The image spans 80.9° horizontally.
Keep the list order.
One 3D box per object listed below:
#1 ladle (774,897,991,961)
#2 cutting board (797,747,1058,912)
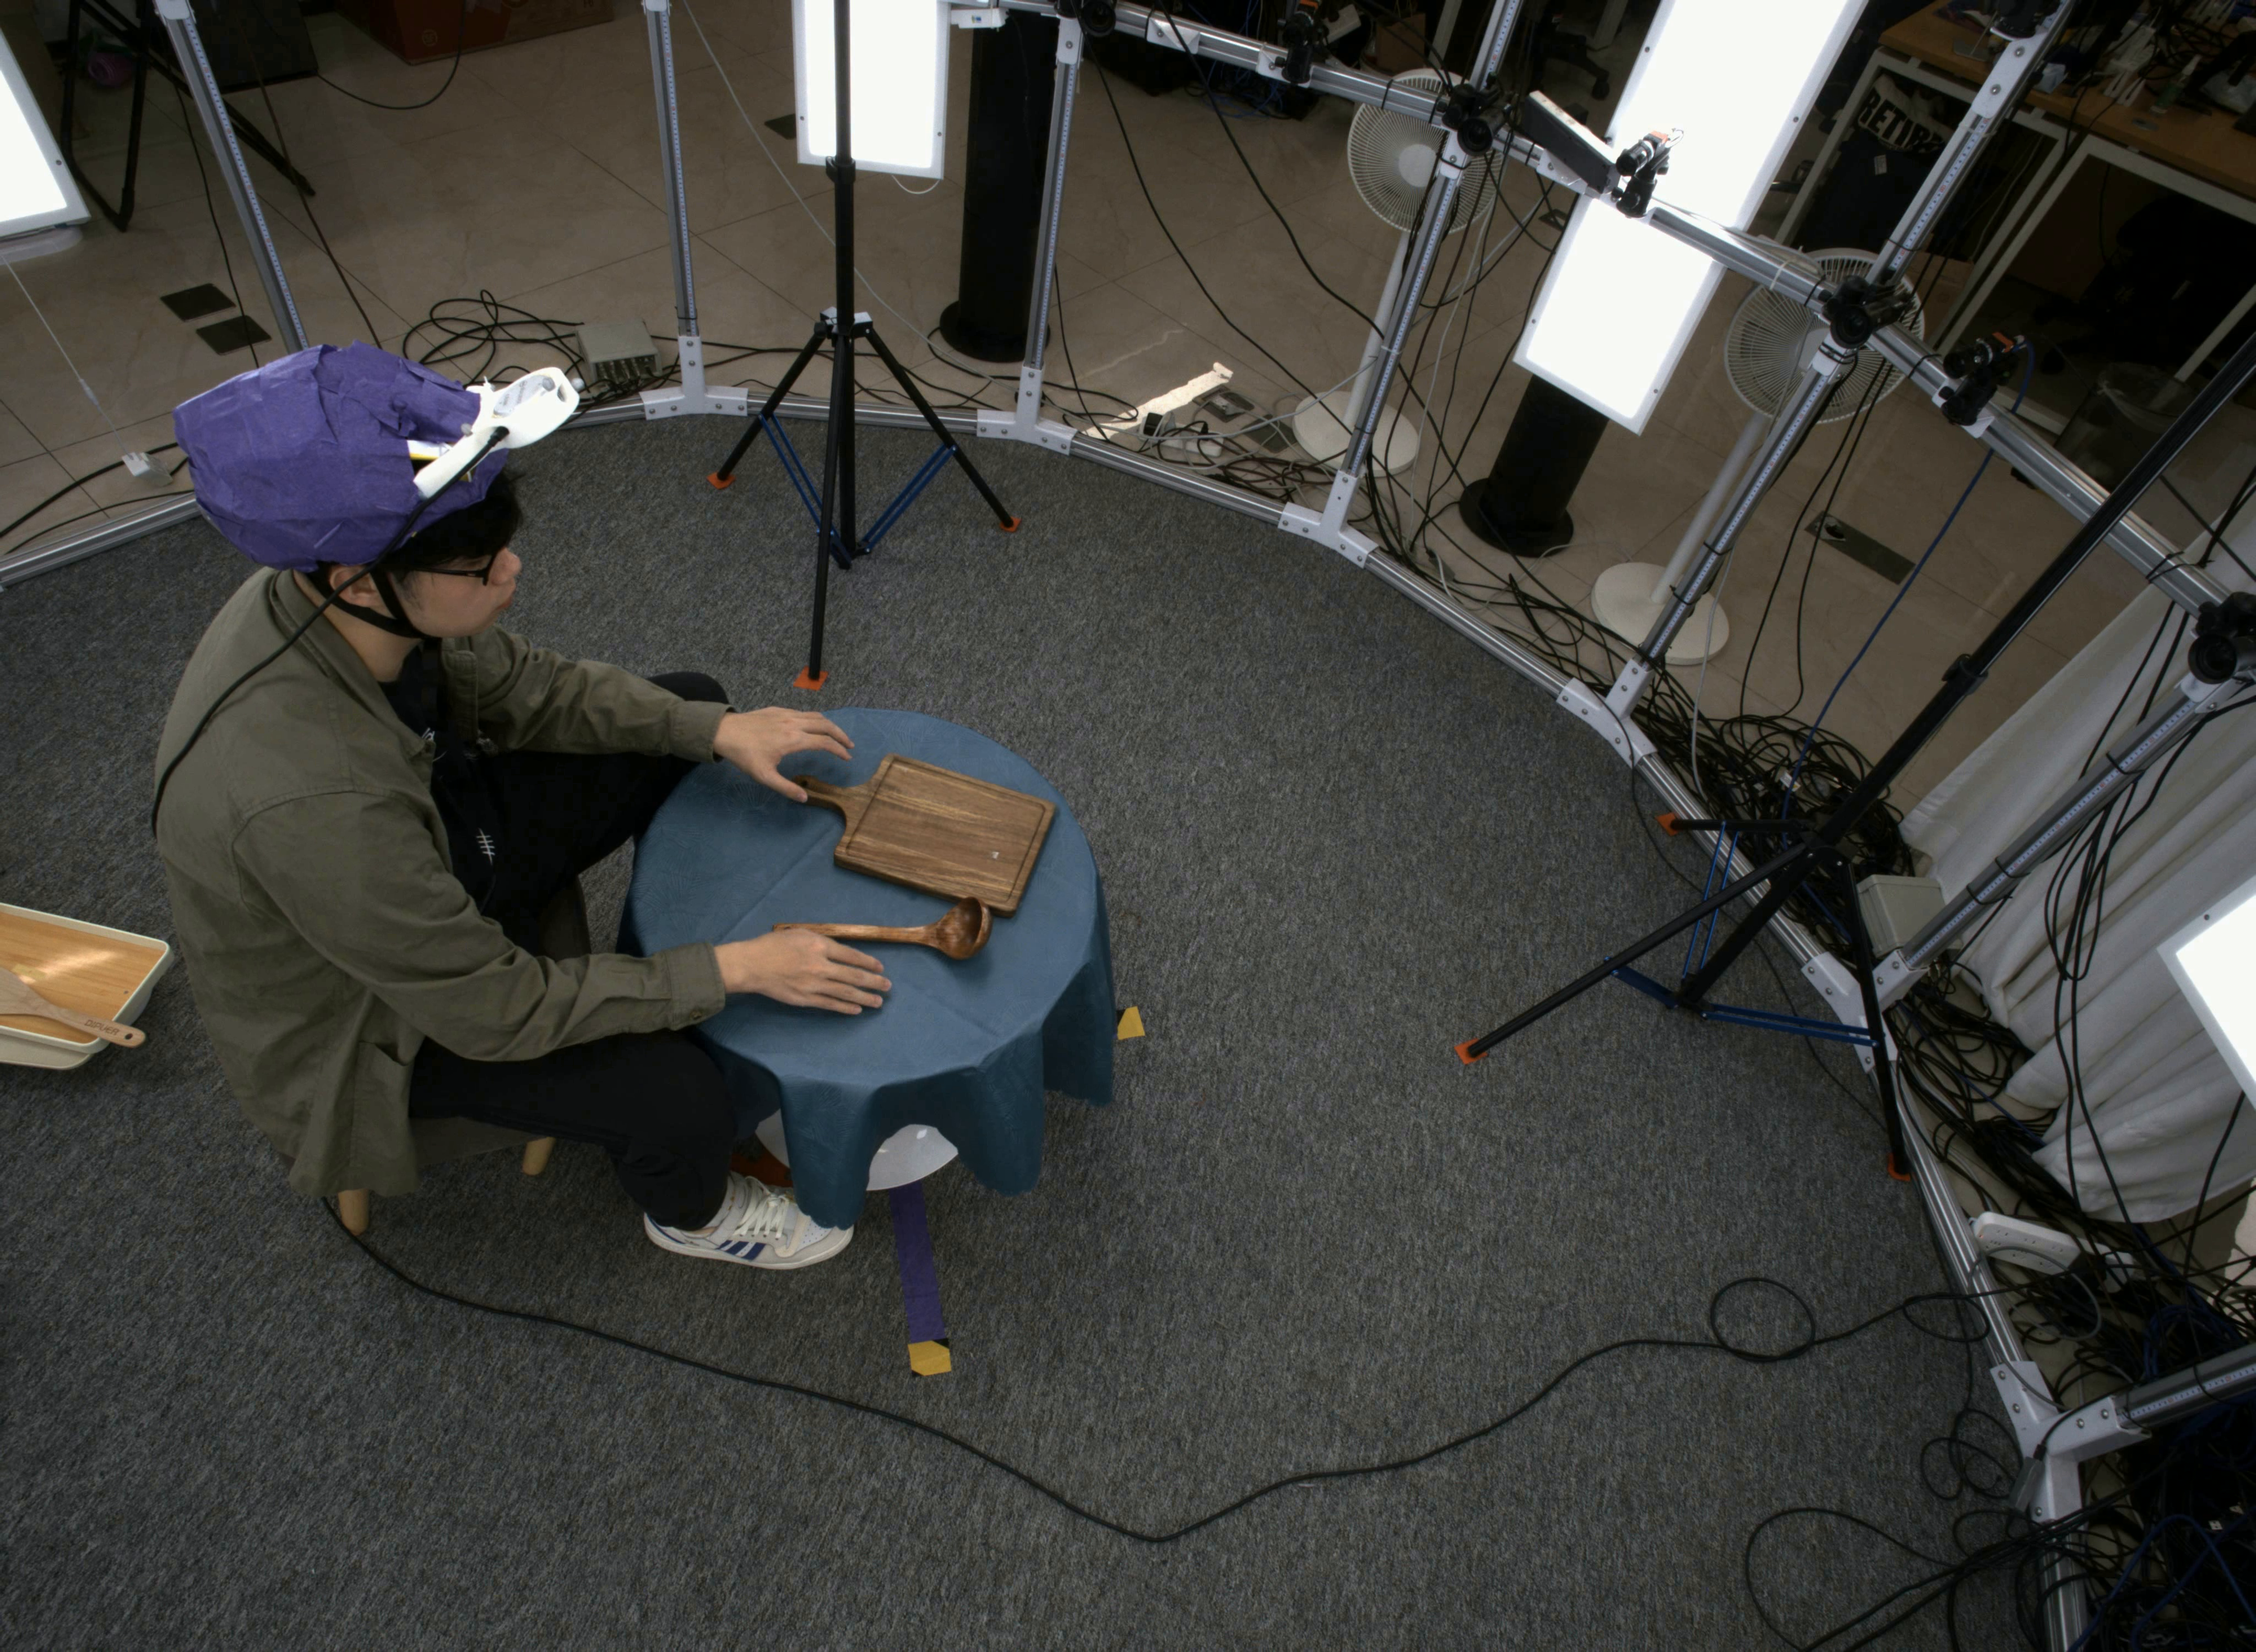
[{"bbox_3d":[-0.308,0.125,1.628,0.274,0.078,0.080,3,57,-11],"label":"ladle"},{"bbox_3d":[-0.285,-0.015,1.772,0.349,0.023,0.199,19,52,1],"label":"cutting board"}]
